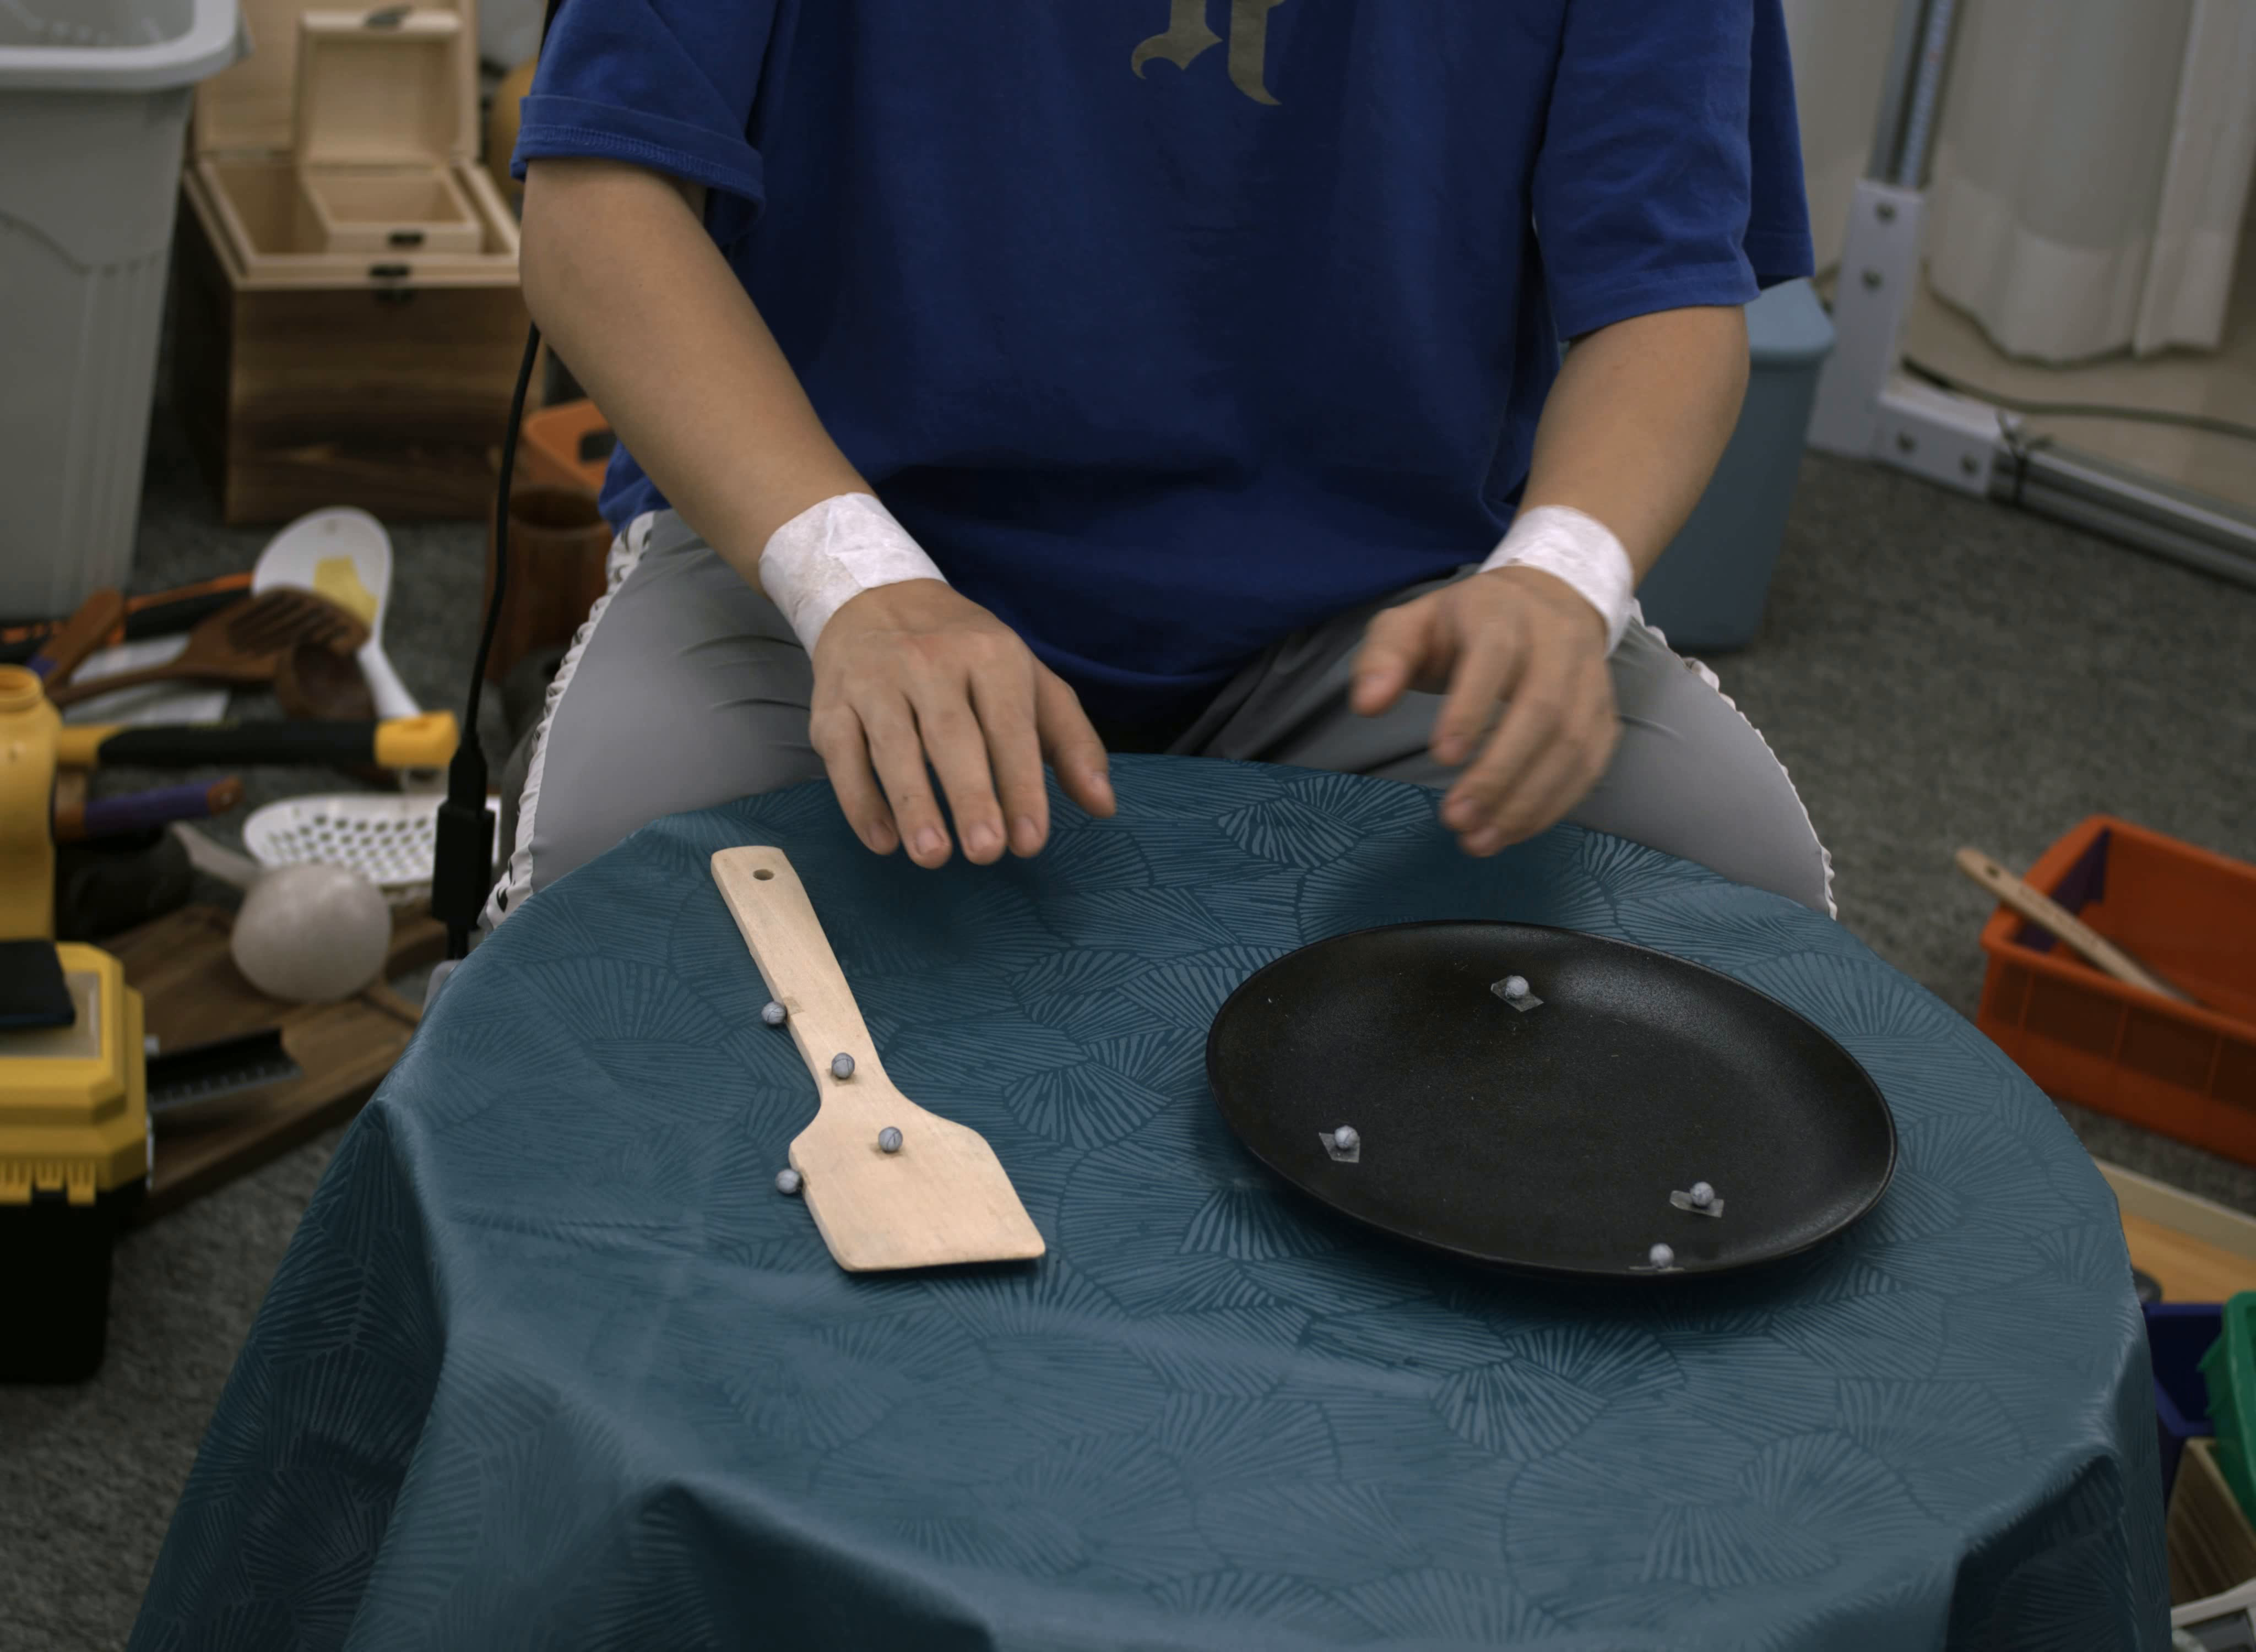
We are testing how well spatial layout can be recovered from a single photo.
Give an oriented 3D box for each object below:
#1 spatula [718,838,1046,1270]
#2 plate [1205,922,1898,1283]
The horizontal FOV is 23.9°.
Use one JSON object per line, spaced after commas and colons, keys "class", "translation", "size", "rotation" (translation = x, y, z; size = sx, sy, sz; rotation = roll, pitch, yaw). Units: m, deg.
{"class": "spatula", "translation": [-0.101, 0.076, 1.863], "size": [0.072, 0.010, 0.295], "rotation": [-4, 29, -17]}
{"class": "plate", "translation": [0.146, 0.100, 1.856], "size": [0.243, 0.023, 0.246], "rotation": [5, 27, -3]}
